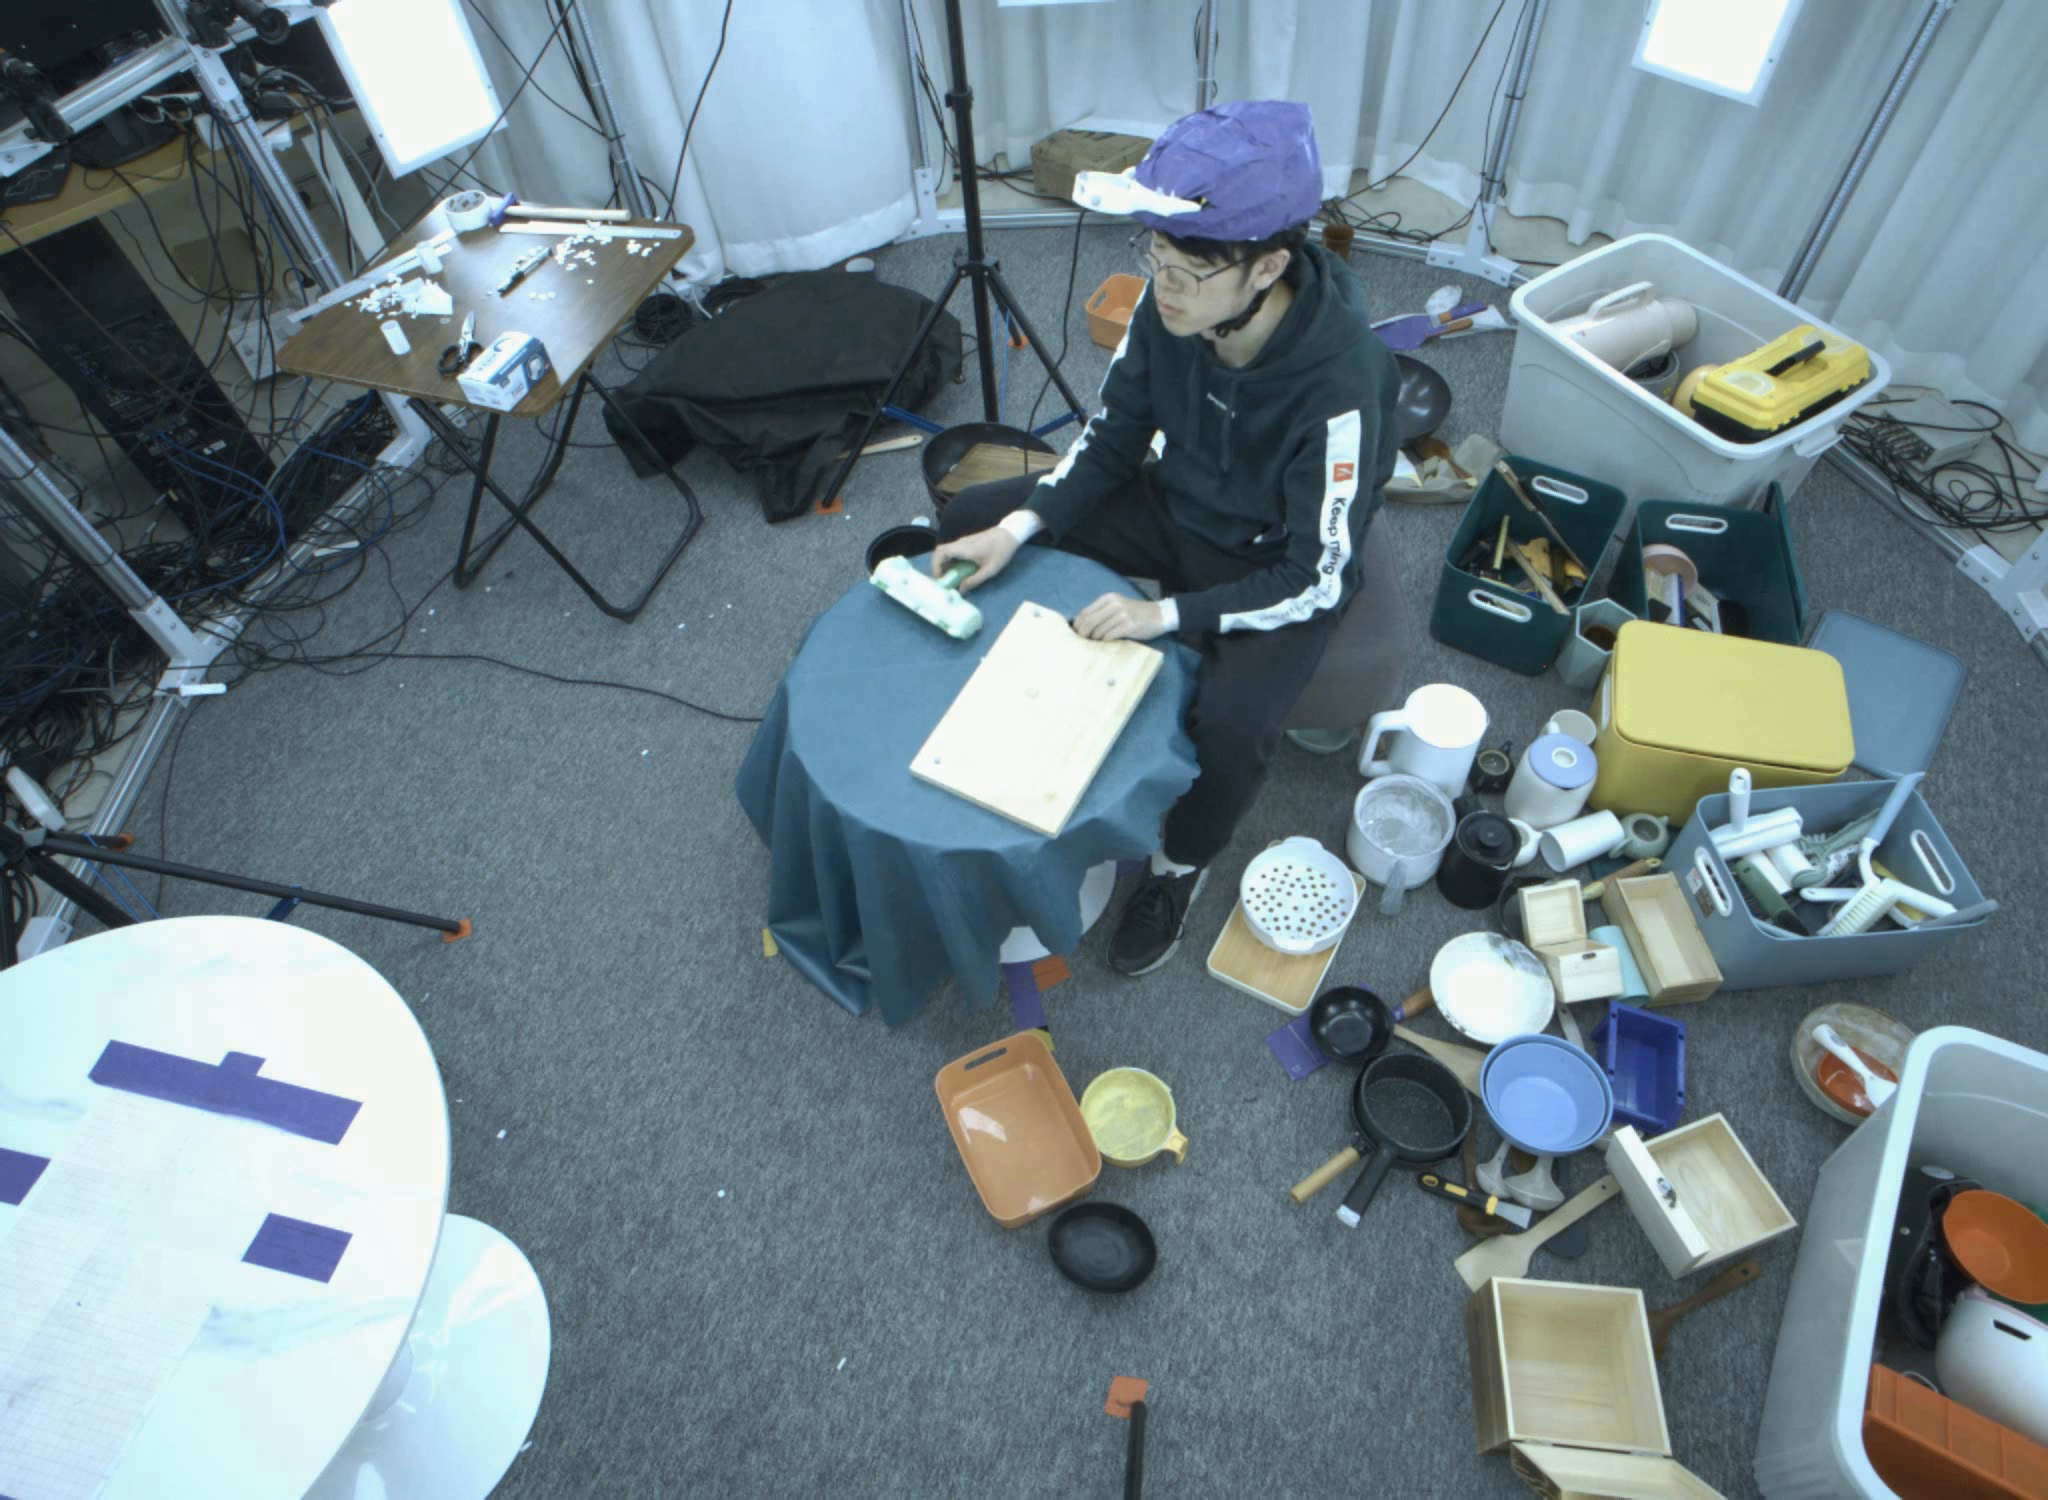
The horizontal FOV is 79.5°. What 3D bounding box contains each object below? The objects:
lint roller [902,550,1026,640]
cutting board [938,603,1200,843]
[{"bbox_3d":[-0.066,-0.278,1.936,0.195,0.083,0.184,36,68,25],"label":"lint roller"},{"bbox_3d":[0.068,-0.049,1.791,0.247,0.024,0.349,25,63,18],"label":"cutting board"}]
